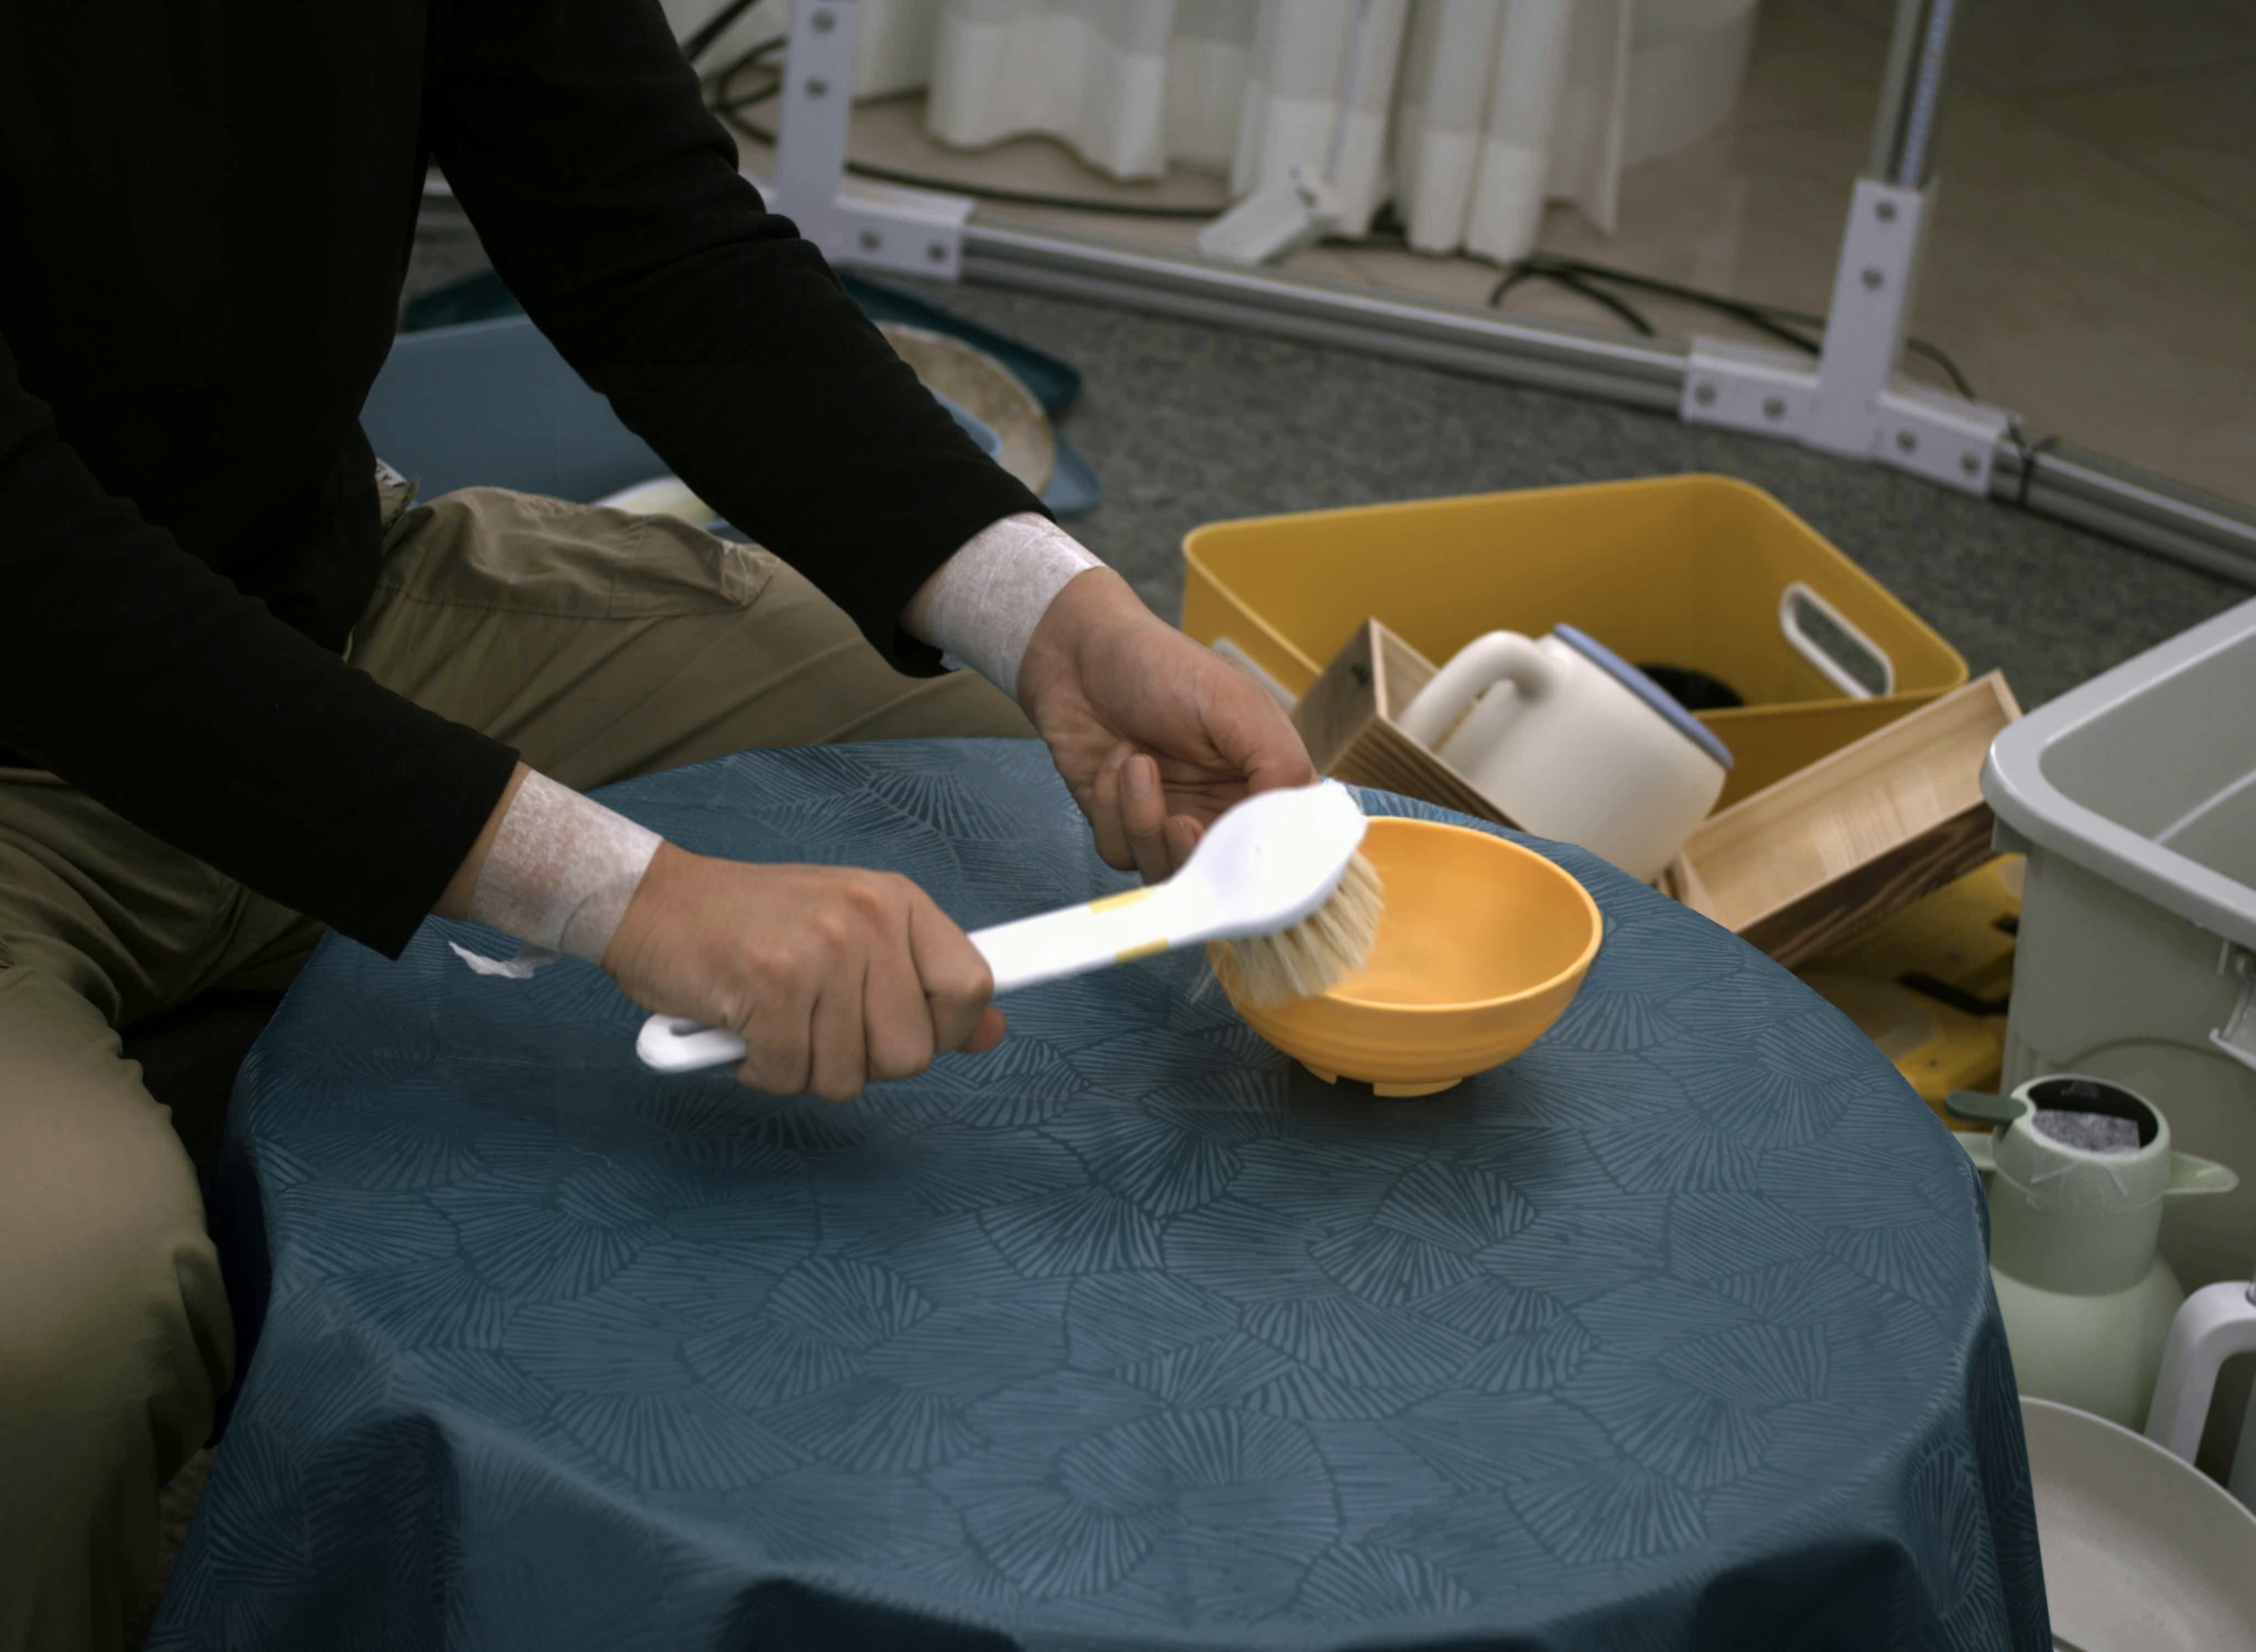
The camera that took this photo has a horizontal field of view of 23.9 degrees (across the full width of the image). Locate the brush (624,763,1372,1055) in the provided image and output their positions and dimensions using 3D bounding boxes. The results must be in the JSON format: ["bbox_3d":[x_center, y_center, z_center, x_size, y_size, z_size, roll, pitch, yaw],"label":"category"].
[{"bbox_3d":[-0.042,0.046,1.813,0.265,0.056,0.069,-19,35,-13],"label":"brush"}]

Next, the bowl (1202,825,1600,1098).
[{"bbox_3d":[0.093,0.056,1.890,0.145,0.060,0.146,4,24,-2],"label":"bowl"}]
